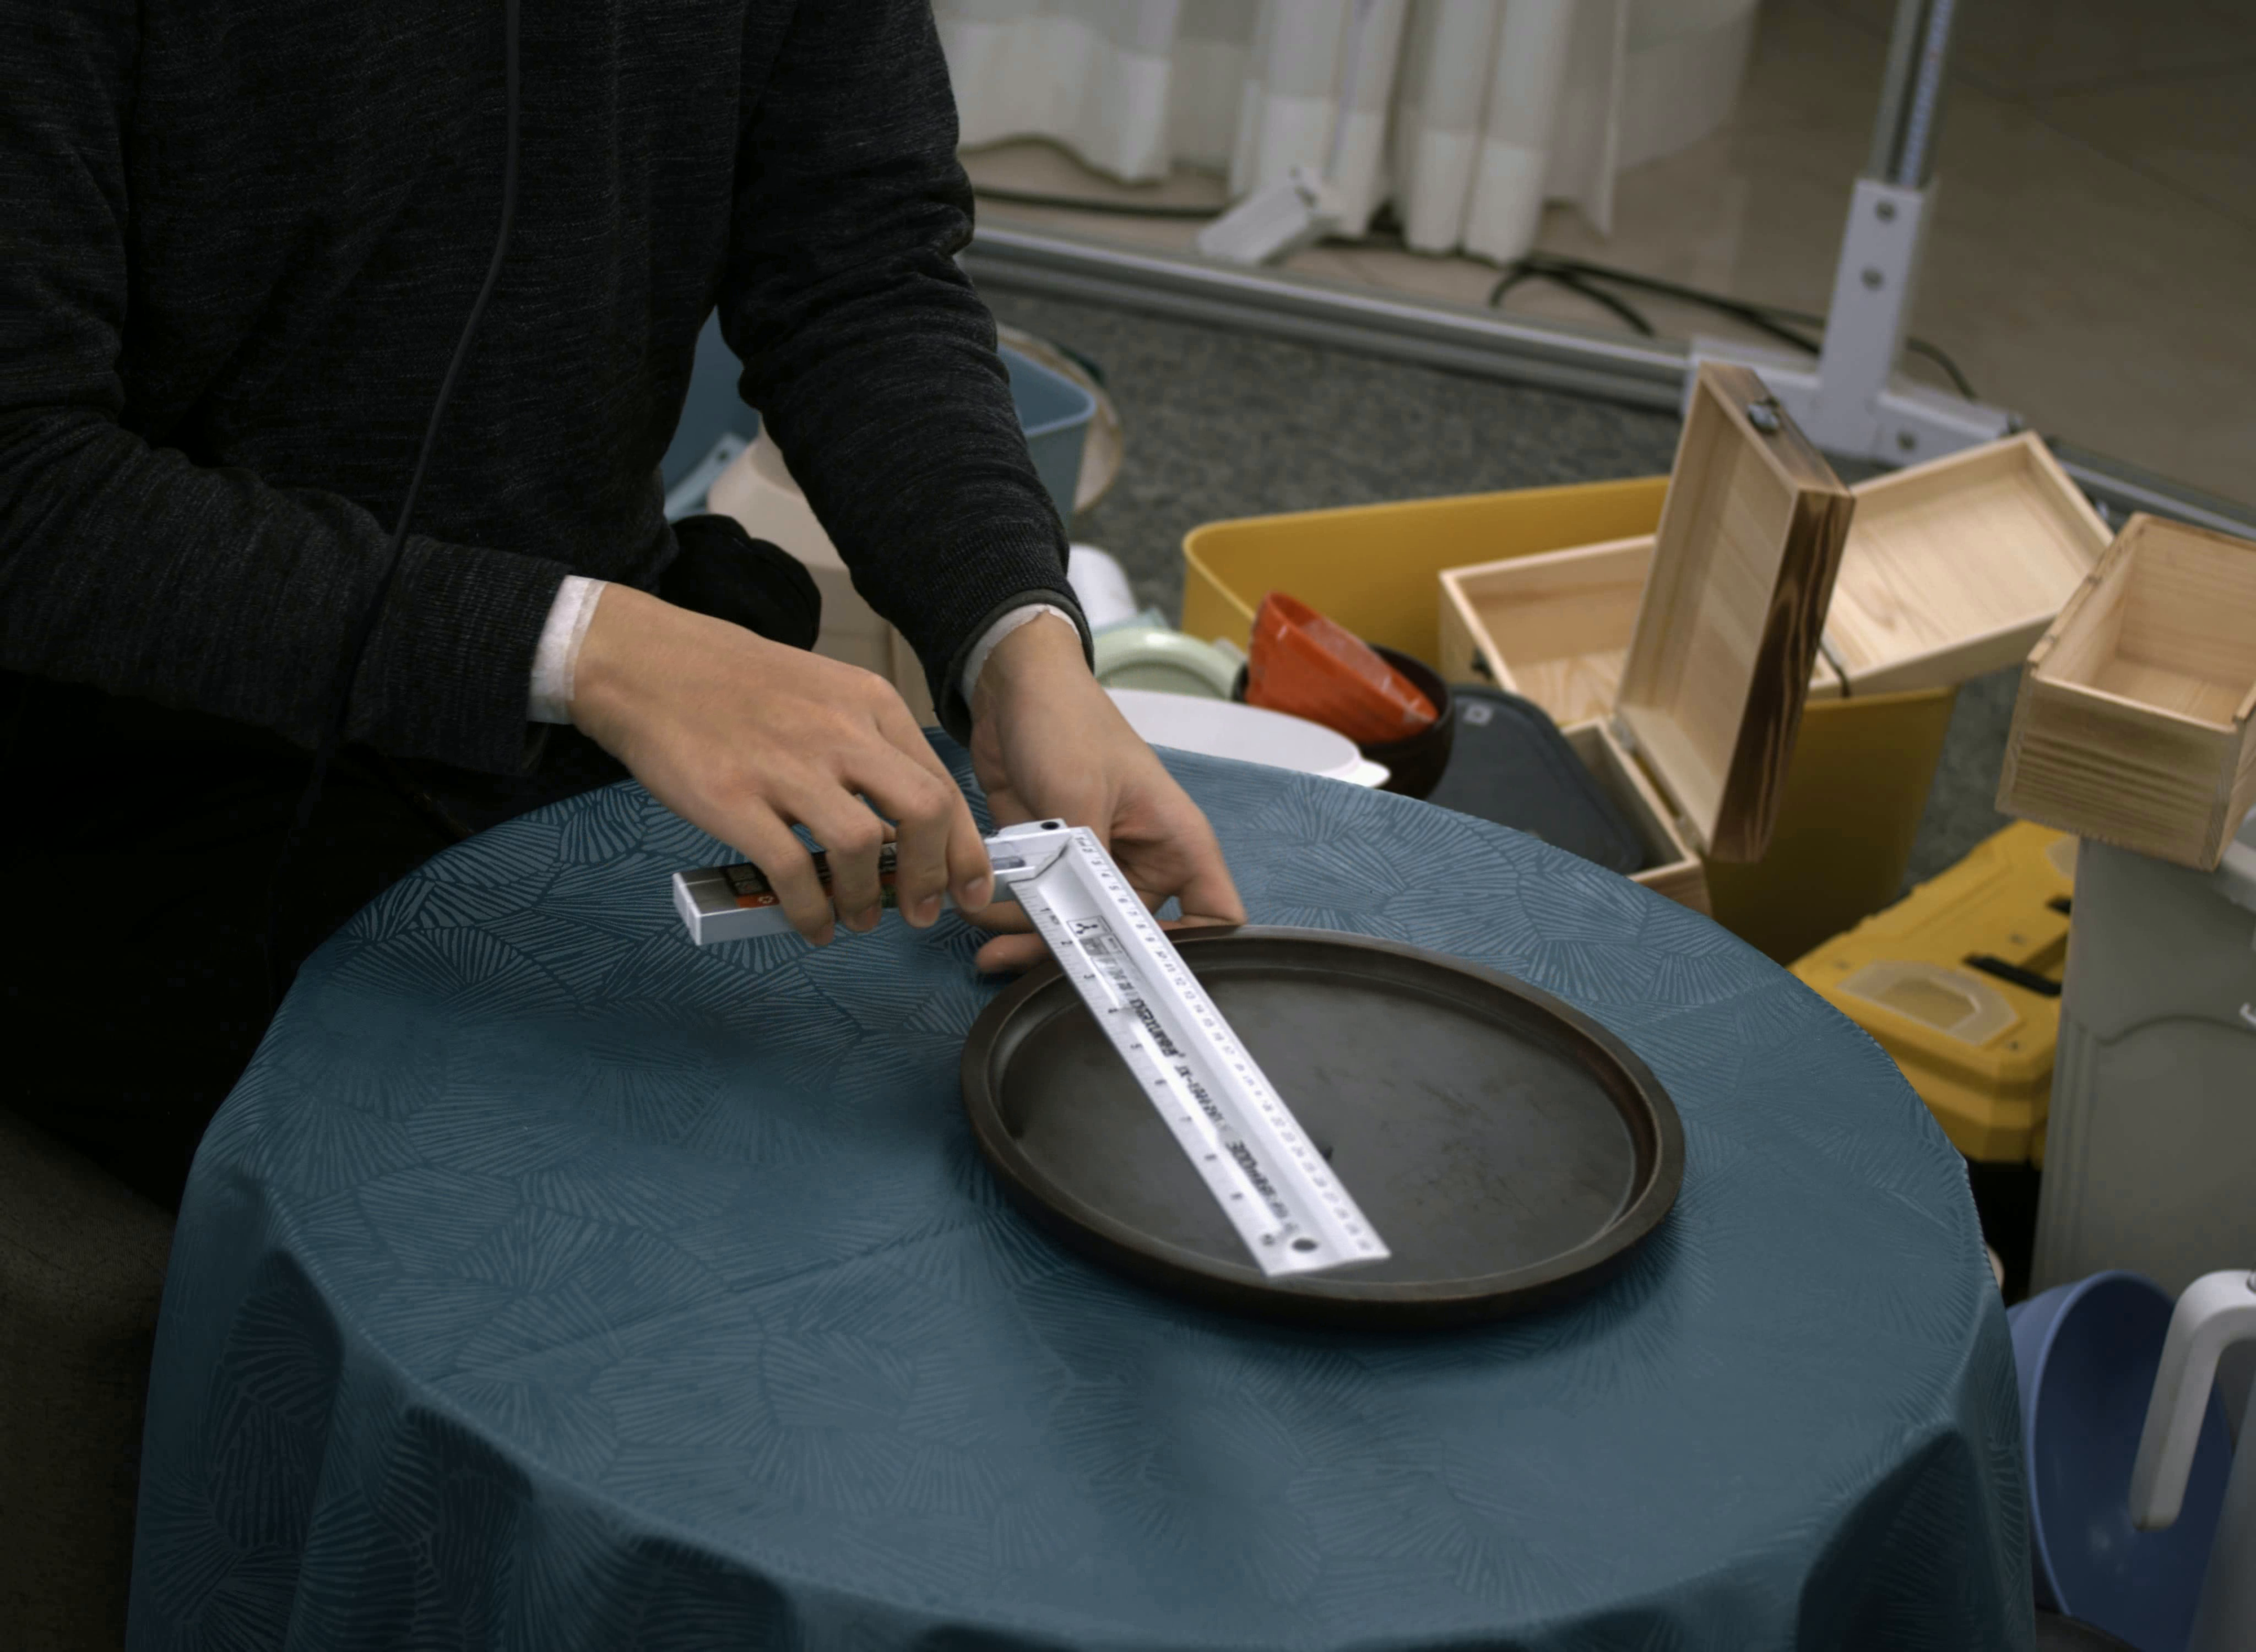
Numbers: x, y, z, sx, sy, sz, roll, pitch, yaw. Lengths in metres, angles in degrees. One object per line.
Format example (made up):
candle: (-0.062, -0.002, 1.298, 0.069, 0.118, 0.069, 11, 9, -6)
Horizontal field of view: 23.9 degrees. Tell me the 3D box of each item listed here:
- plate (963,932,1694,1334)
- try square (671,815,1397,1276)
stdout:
plate: (0.068, 0.103, 1.832, 0.254, 0.029, 0.256, 6, 28, -3)
try square: (-0.038, 0.075, 1.724, 0.151, 0.016, 0.315, -10, 27, -15)
